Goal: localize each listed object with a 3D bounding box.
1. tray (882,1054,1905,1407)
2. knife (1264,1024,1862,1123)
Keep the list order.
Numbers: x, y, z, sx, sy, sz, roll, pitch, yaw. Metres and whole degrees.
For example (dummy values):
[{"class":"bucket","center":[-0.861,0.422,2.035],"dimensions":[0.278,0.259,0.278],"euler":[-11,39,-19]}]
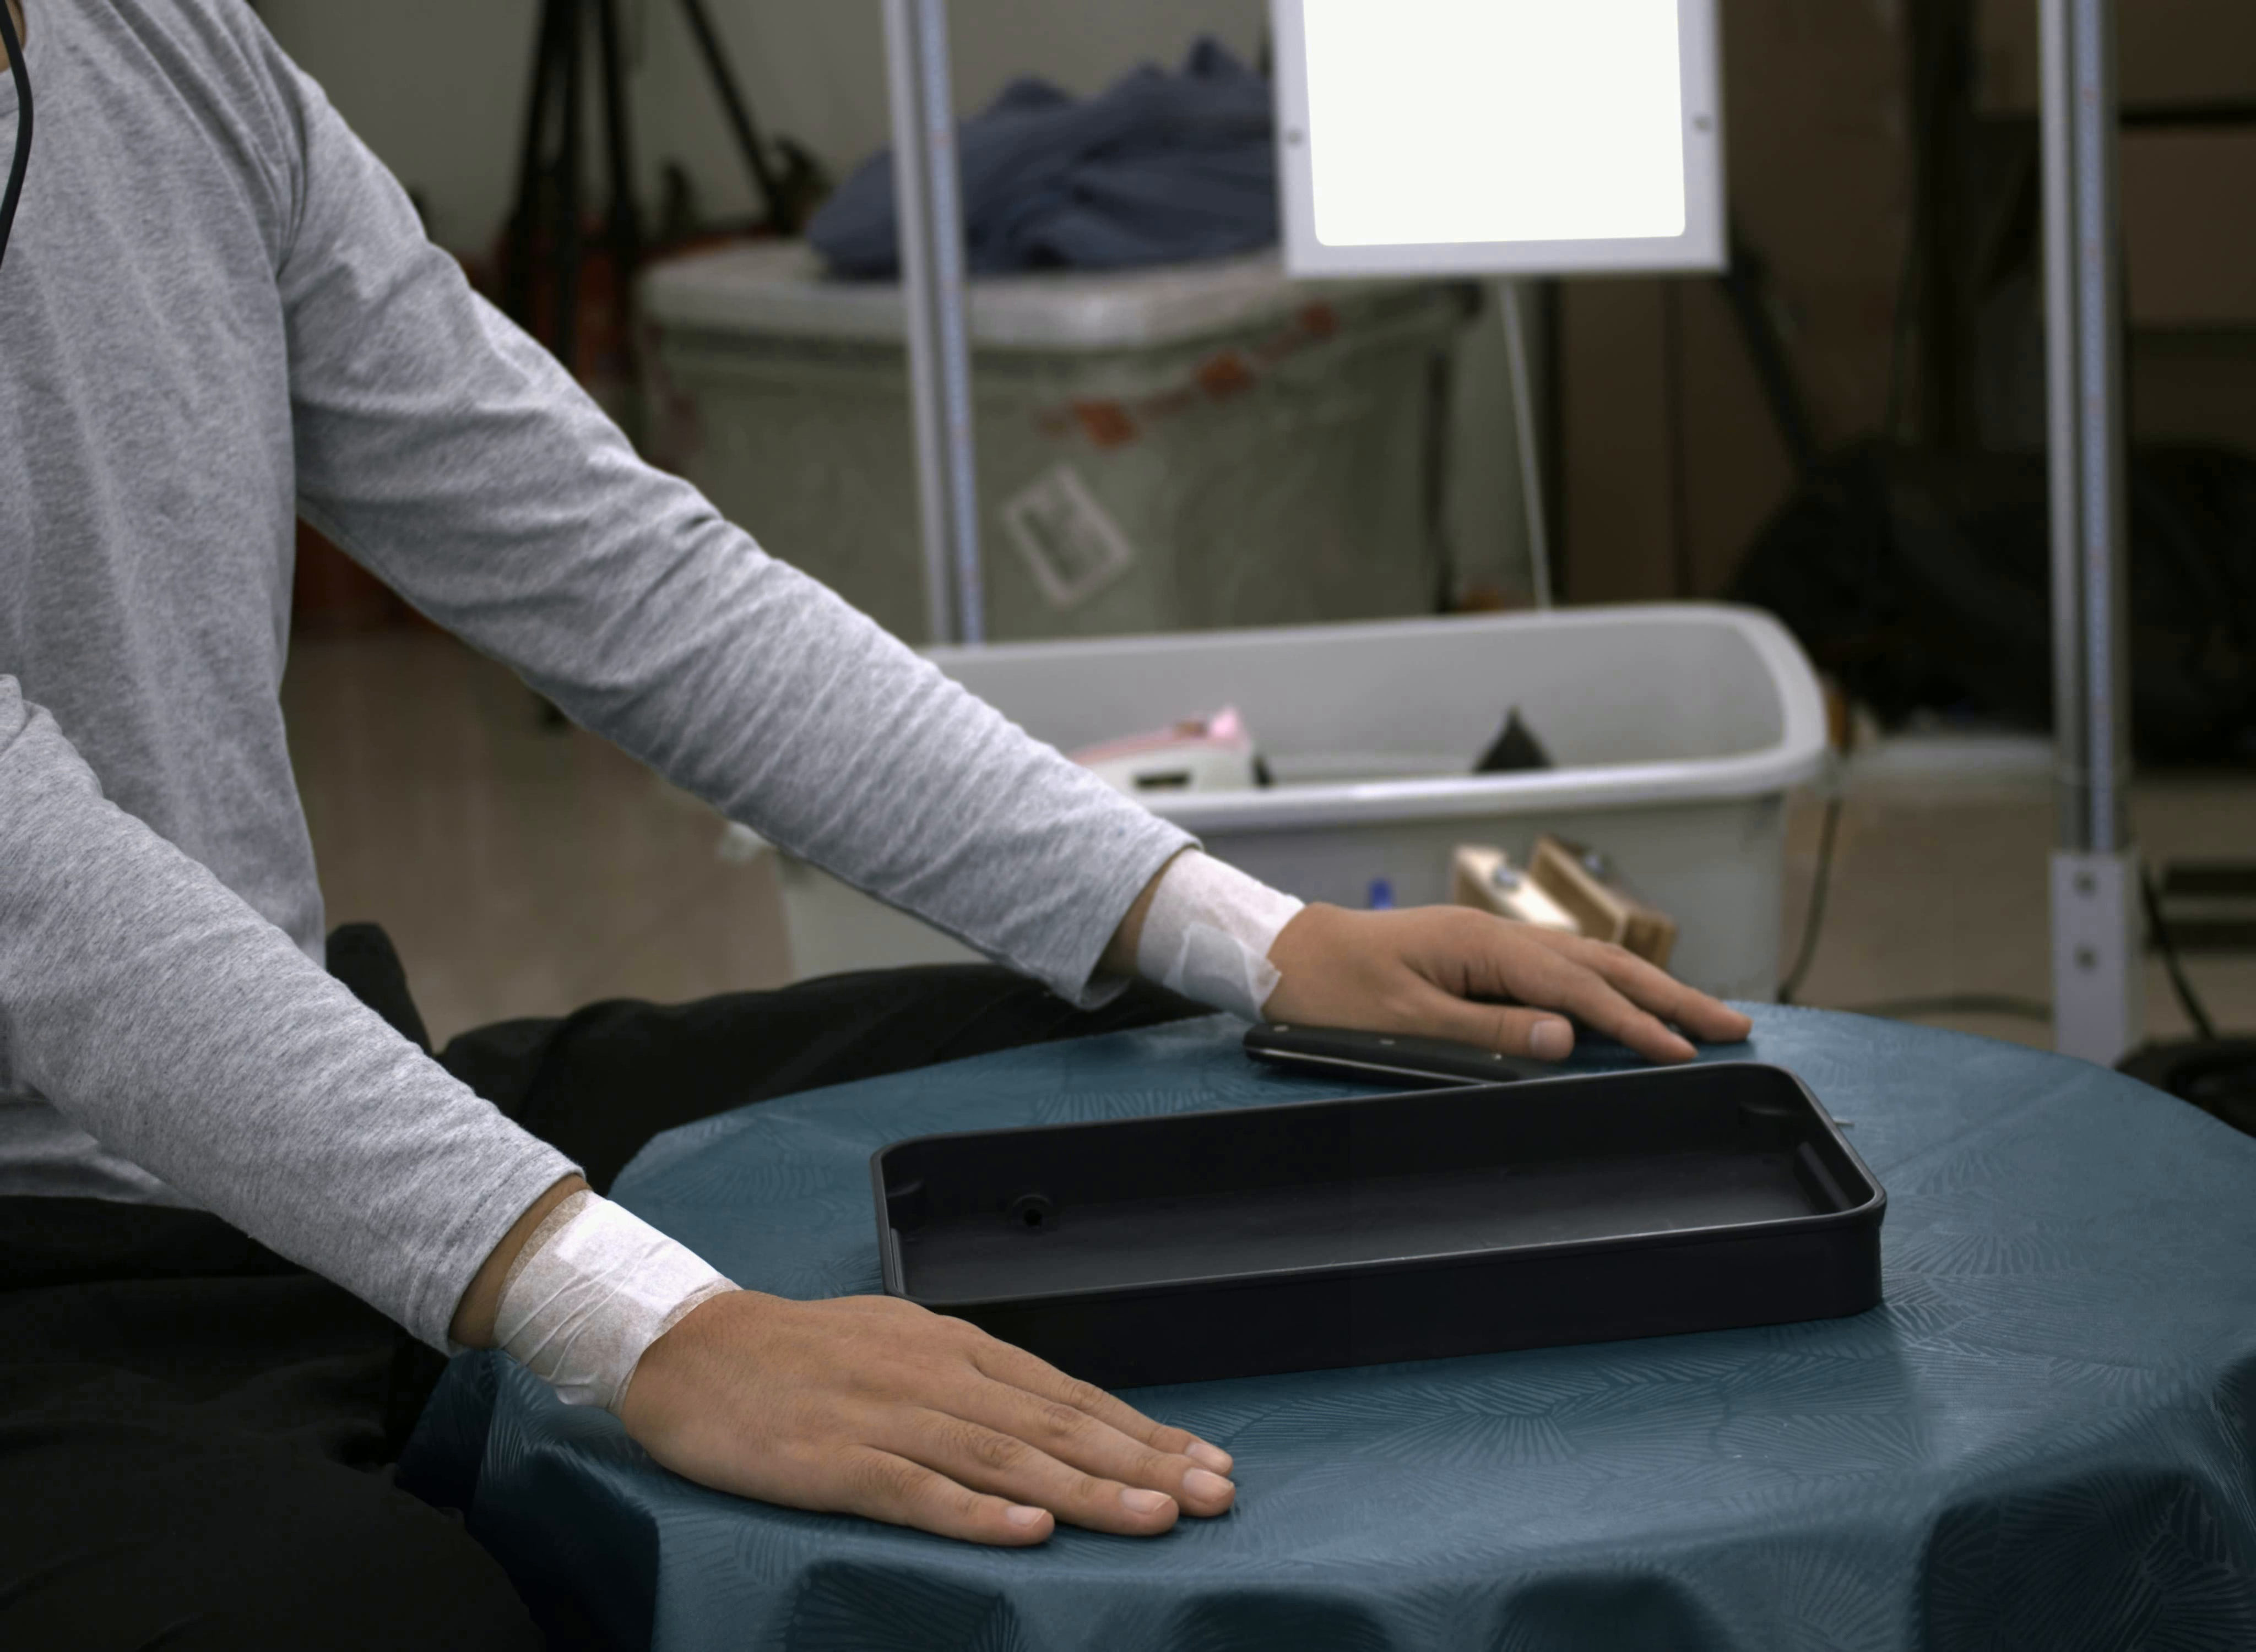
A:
[{"class":"tray","center":[0.083,0.129,1.788],"dimensions":[0.316,0.037,0.184],"euler":[-6,13,-2]},{"class":"knife","center":[0.152,0.092,1.967],"dimensions":[0.242,0.016,0.024],"euler":[6,19,31]}]
